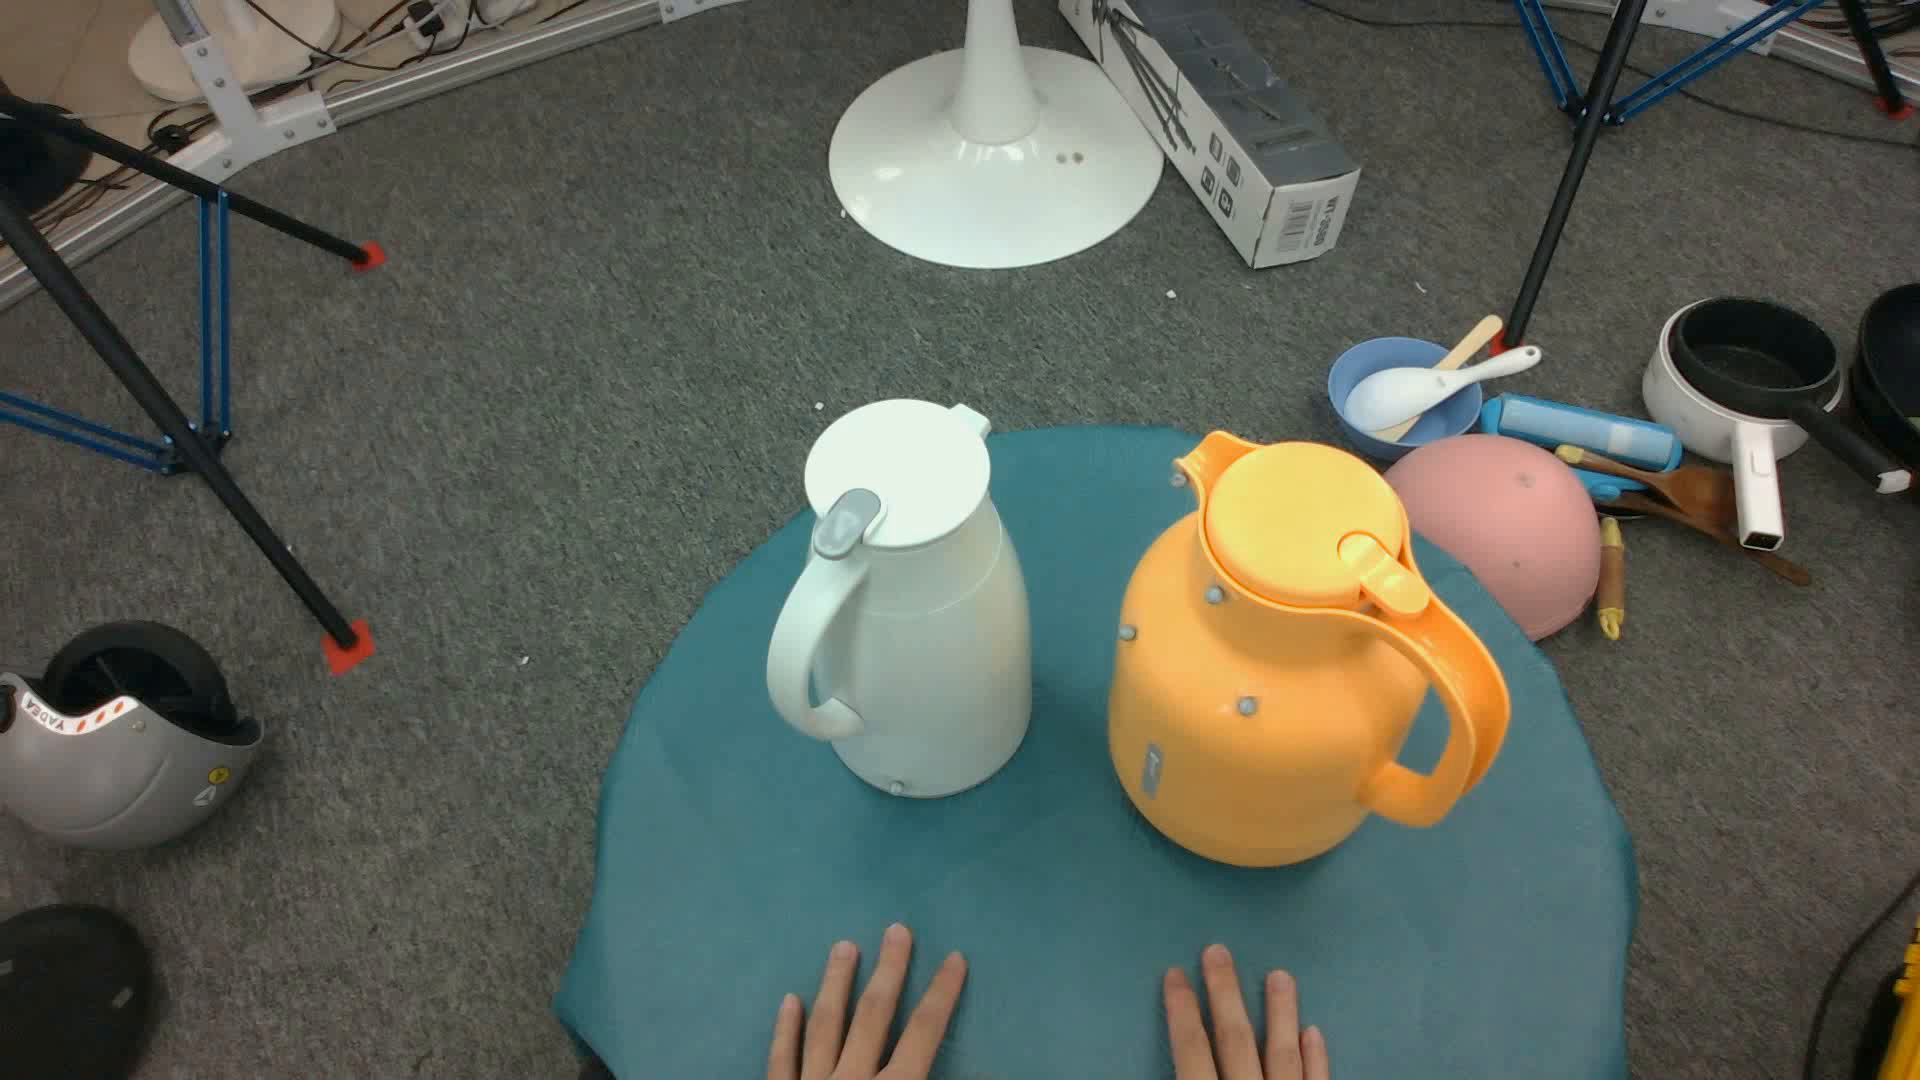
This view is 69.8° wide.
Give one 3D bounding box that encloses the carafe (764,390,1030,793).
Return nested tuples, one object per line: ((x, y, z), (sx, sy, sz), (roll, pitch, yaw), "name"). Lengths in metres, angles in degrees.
((-0.038, 0.042, 0.756), (0.132, 0.247, 0.168), (30, 62, 22), "carafe")

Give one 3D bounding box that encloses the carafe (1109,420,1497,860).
((0.174, 0.066, 0.723), (0.164, 0.259, 0.202), (-35, 59, -18), "carafe")
